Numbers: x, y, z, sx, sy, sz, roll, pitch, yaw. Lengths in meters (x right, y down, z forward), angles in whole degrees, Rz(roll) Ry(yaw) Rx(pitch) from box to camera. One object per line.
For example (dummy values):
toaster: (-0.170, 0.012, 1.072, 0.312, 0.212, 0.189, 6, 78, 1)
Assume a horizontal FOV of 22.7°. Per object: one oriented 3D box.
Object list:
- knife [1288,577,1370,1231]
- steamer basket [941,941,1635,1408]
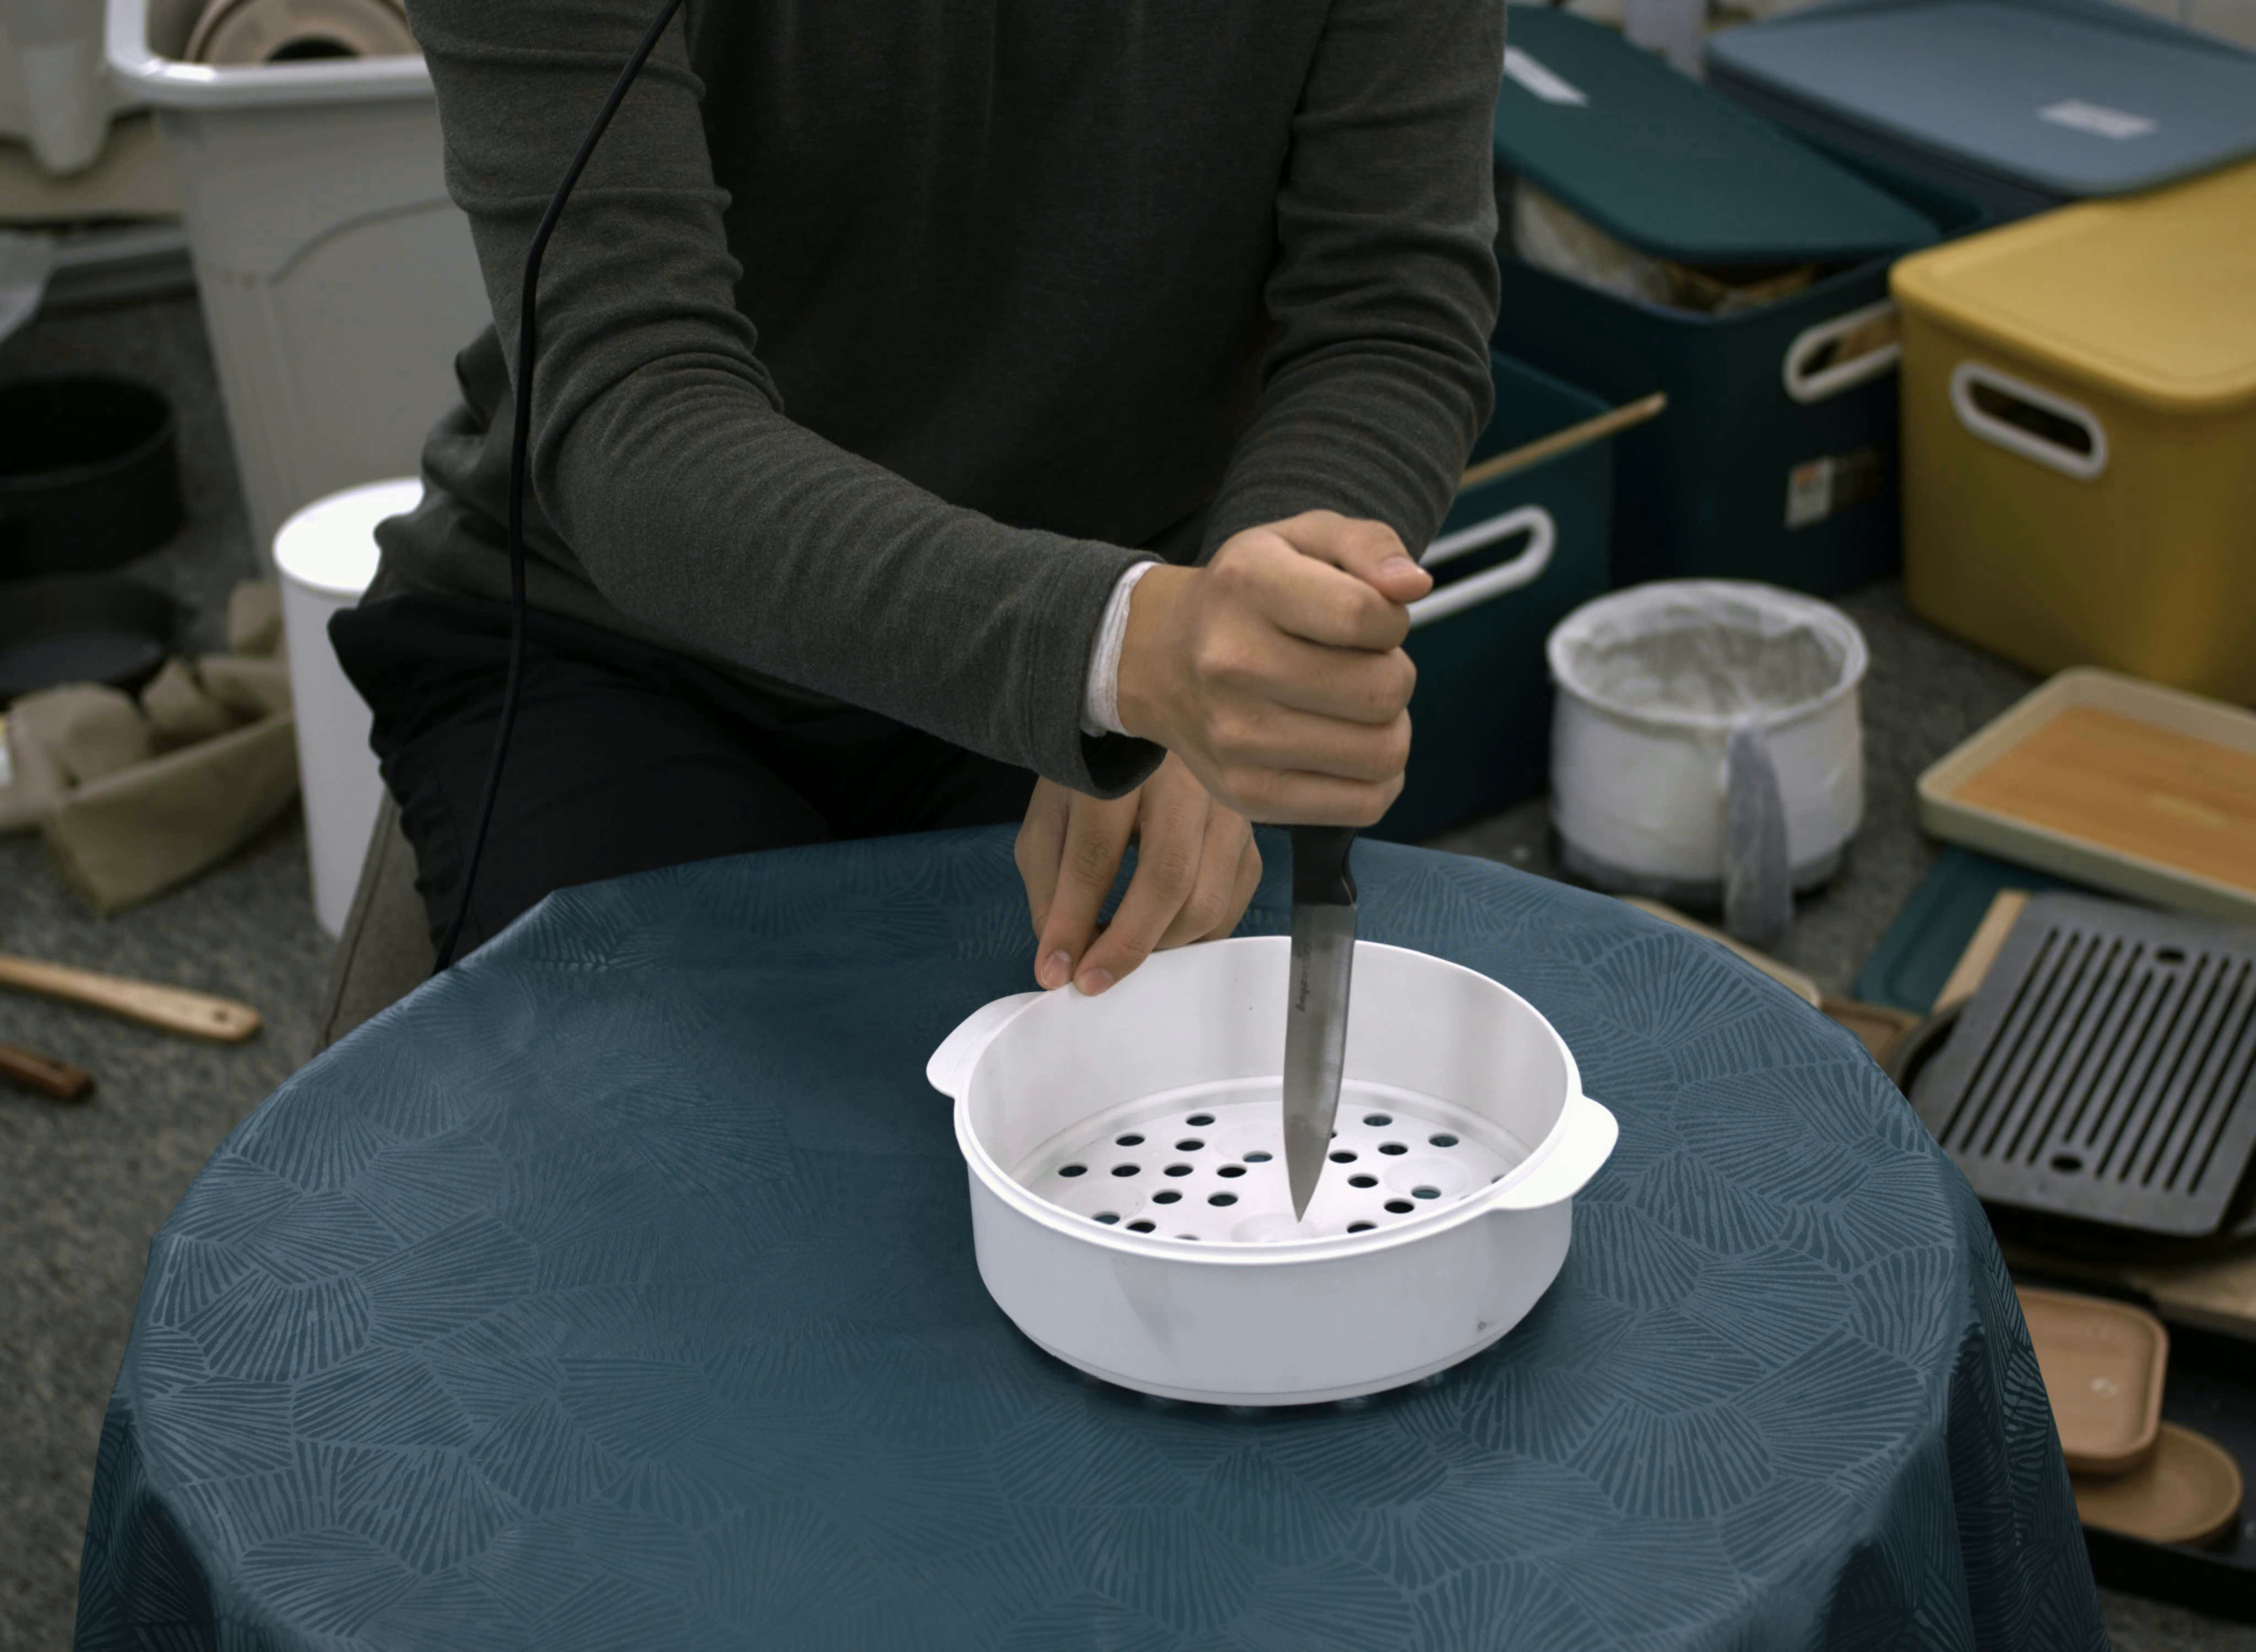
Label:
knife: (0.060, 0.027, 1.749, 0.024, 0.235, 0.016, 21, 35, 31)
steamer basket: (0.050, 0.111, 1.803, 0.229, 0.068, 0.205, 10, 29, 25)
